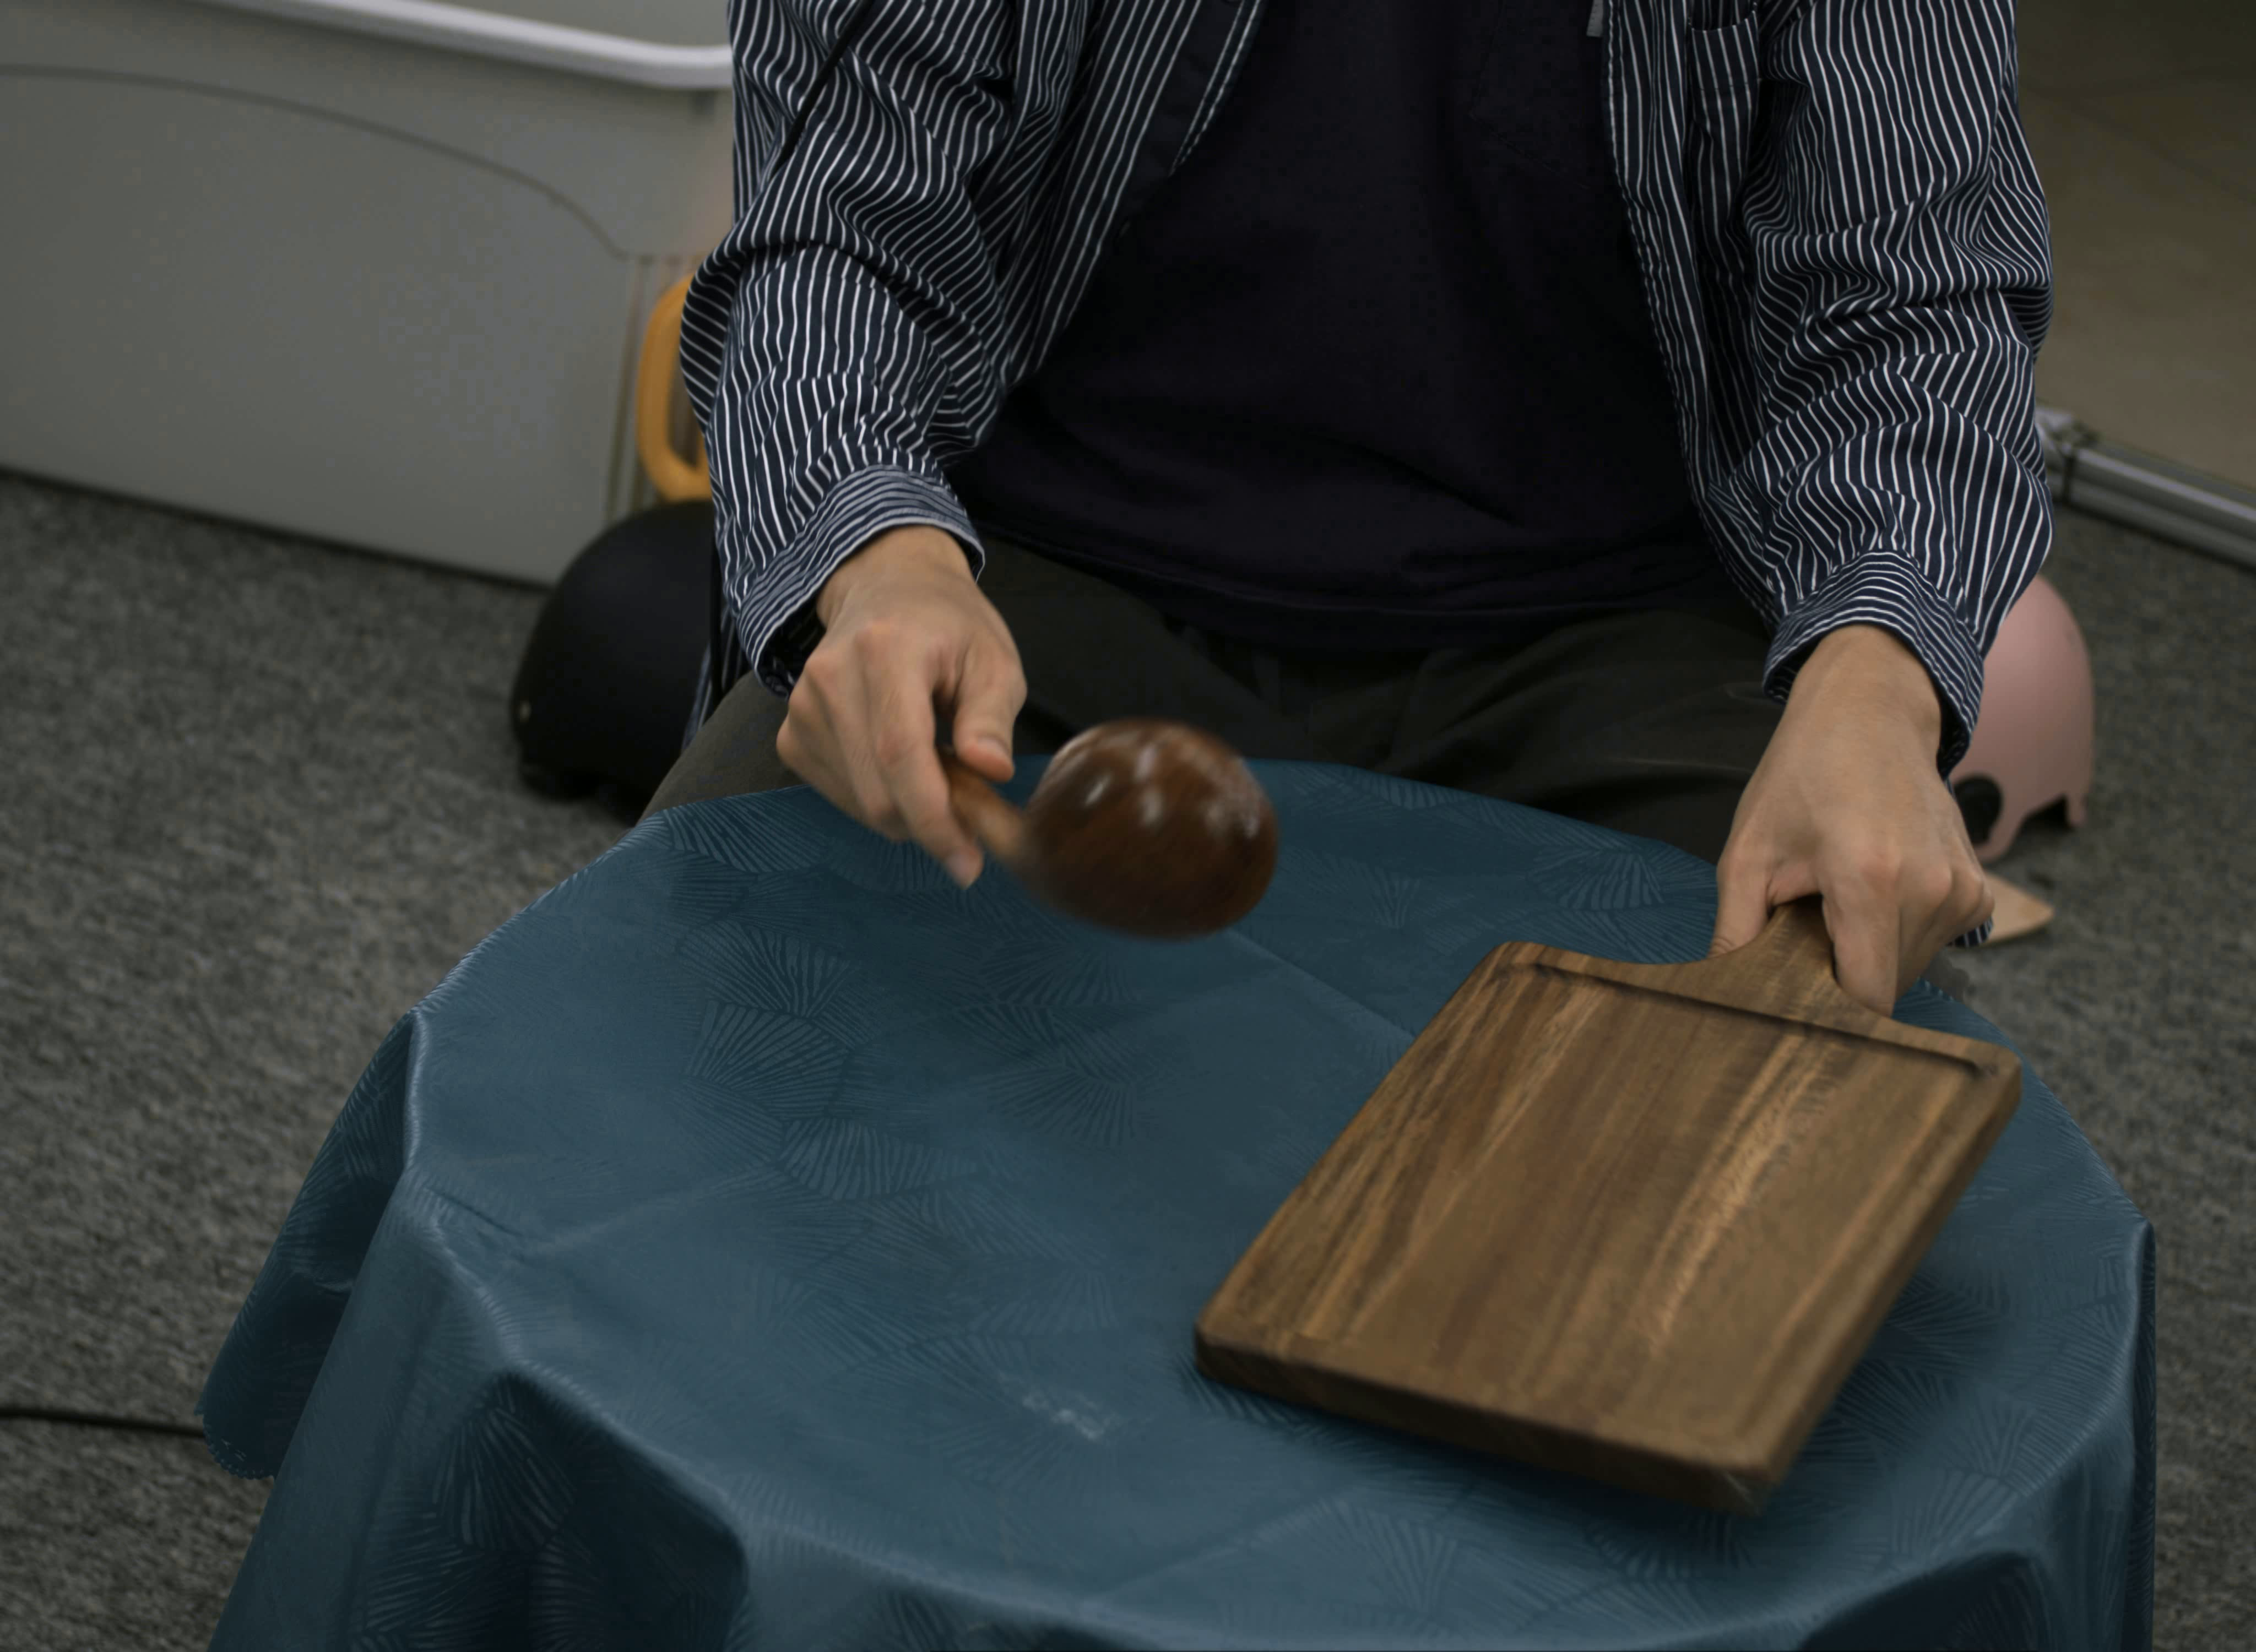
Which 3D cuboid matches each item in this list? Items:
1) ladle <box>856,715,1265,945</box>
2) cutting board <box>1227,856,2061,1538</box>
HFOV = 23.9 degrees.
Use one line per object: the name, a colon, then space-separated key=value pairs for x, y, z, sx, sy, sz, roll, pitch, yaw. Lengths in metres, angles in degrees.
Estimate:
ladle: x=-0.028 y=-0.017 z=1.784 sx=0.076 sy=0.081 sz=0.275 roll=-36 pitch=19 yaw=-7
cutting board: x=0.195 y=0.106 z=1.775 sx=0.202 sy=0.023 sz=0.352 roll=13 pitch=36 yaw=26
